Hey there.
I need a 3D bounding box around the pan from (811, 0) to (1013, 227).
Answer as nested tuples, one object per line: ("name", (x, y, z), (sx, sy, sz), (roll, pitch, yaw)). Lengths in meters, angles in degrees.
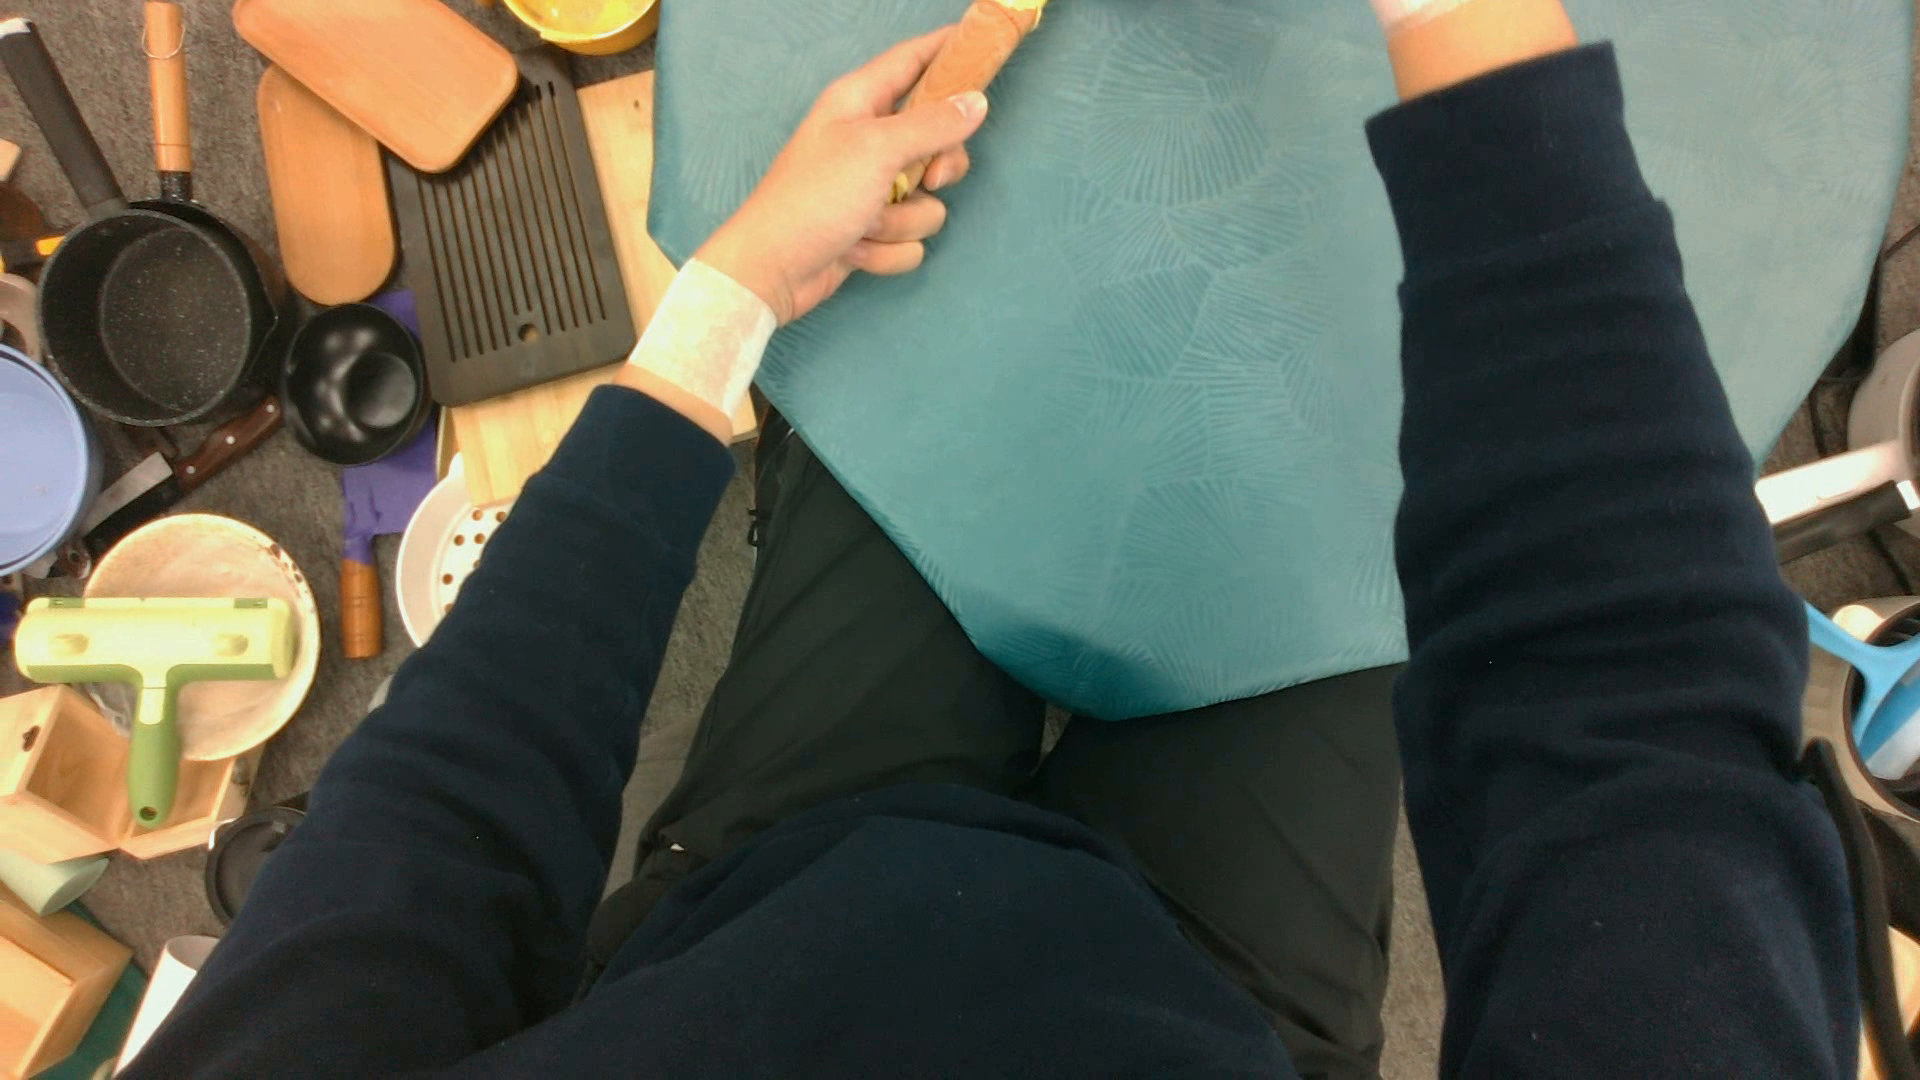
("pan", (0.028, -0.279, 0.634), (0.169, 0.049, 0.324), (35, 88, -1))
